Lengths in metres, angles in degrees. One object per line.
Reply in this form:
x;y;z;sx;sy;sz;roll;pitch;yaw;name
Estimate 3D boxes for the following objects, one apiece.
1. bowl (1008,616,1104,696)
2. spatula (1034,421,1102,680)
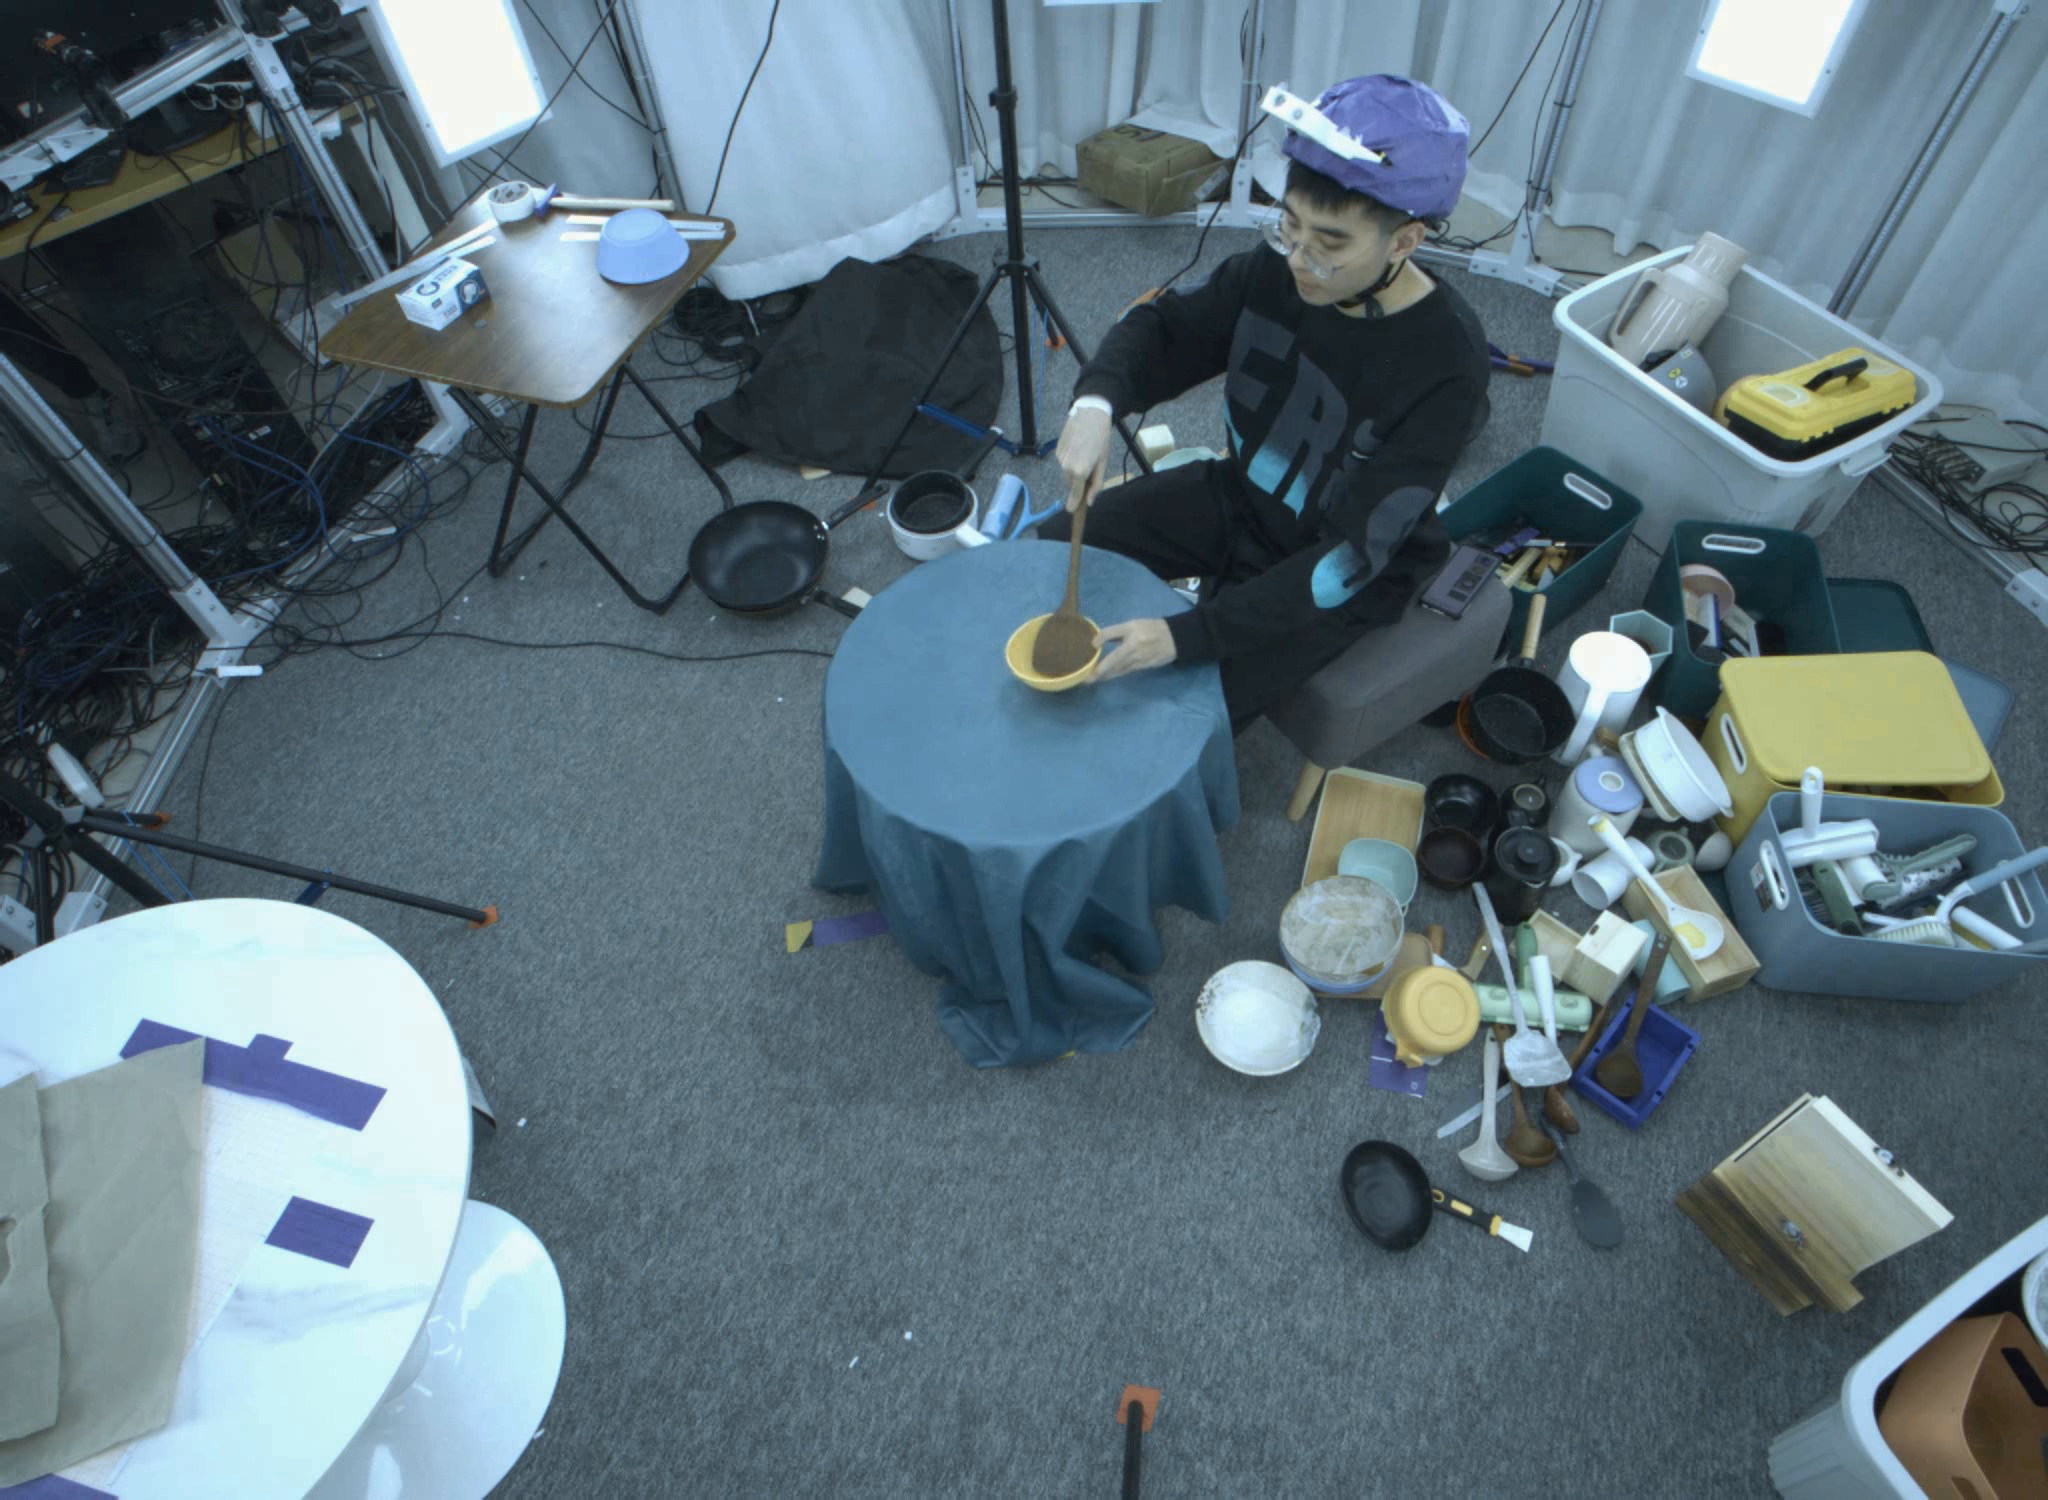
0.051;-0.128;1.835;0.145;0.061;0.144;-4;50;6;bowl
0.079;-0.294;1.805;0.095;0.016;0.387;9;99;16;spatula
